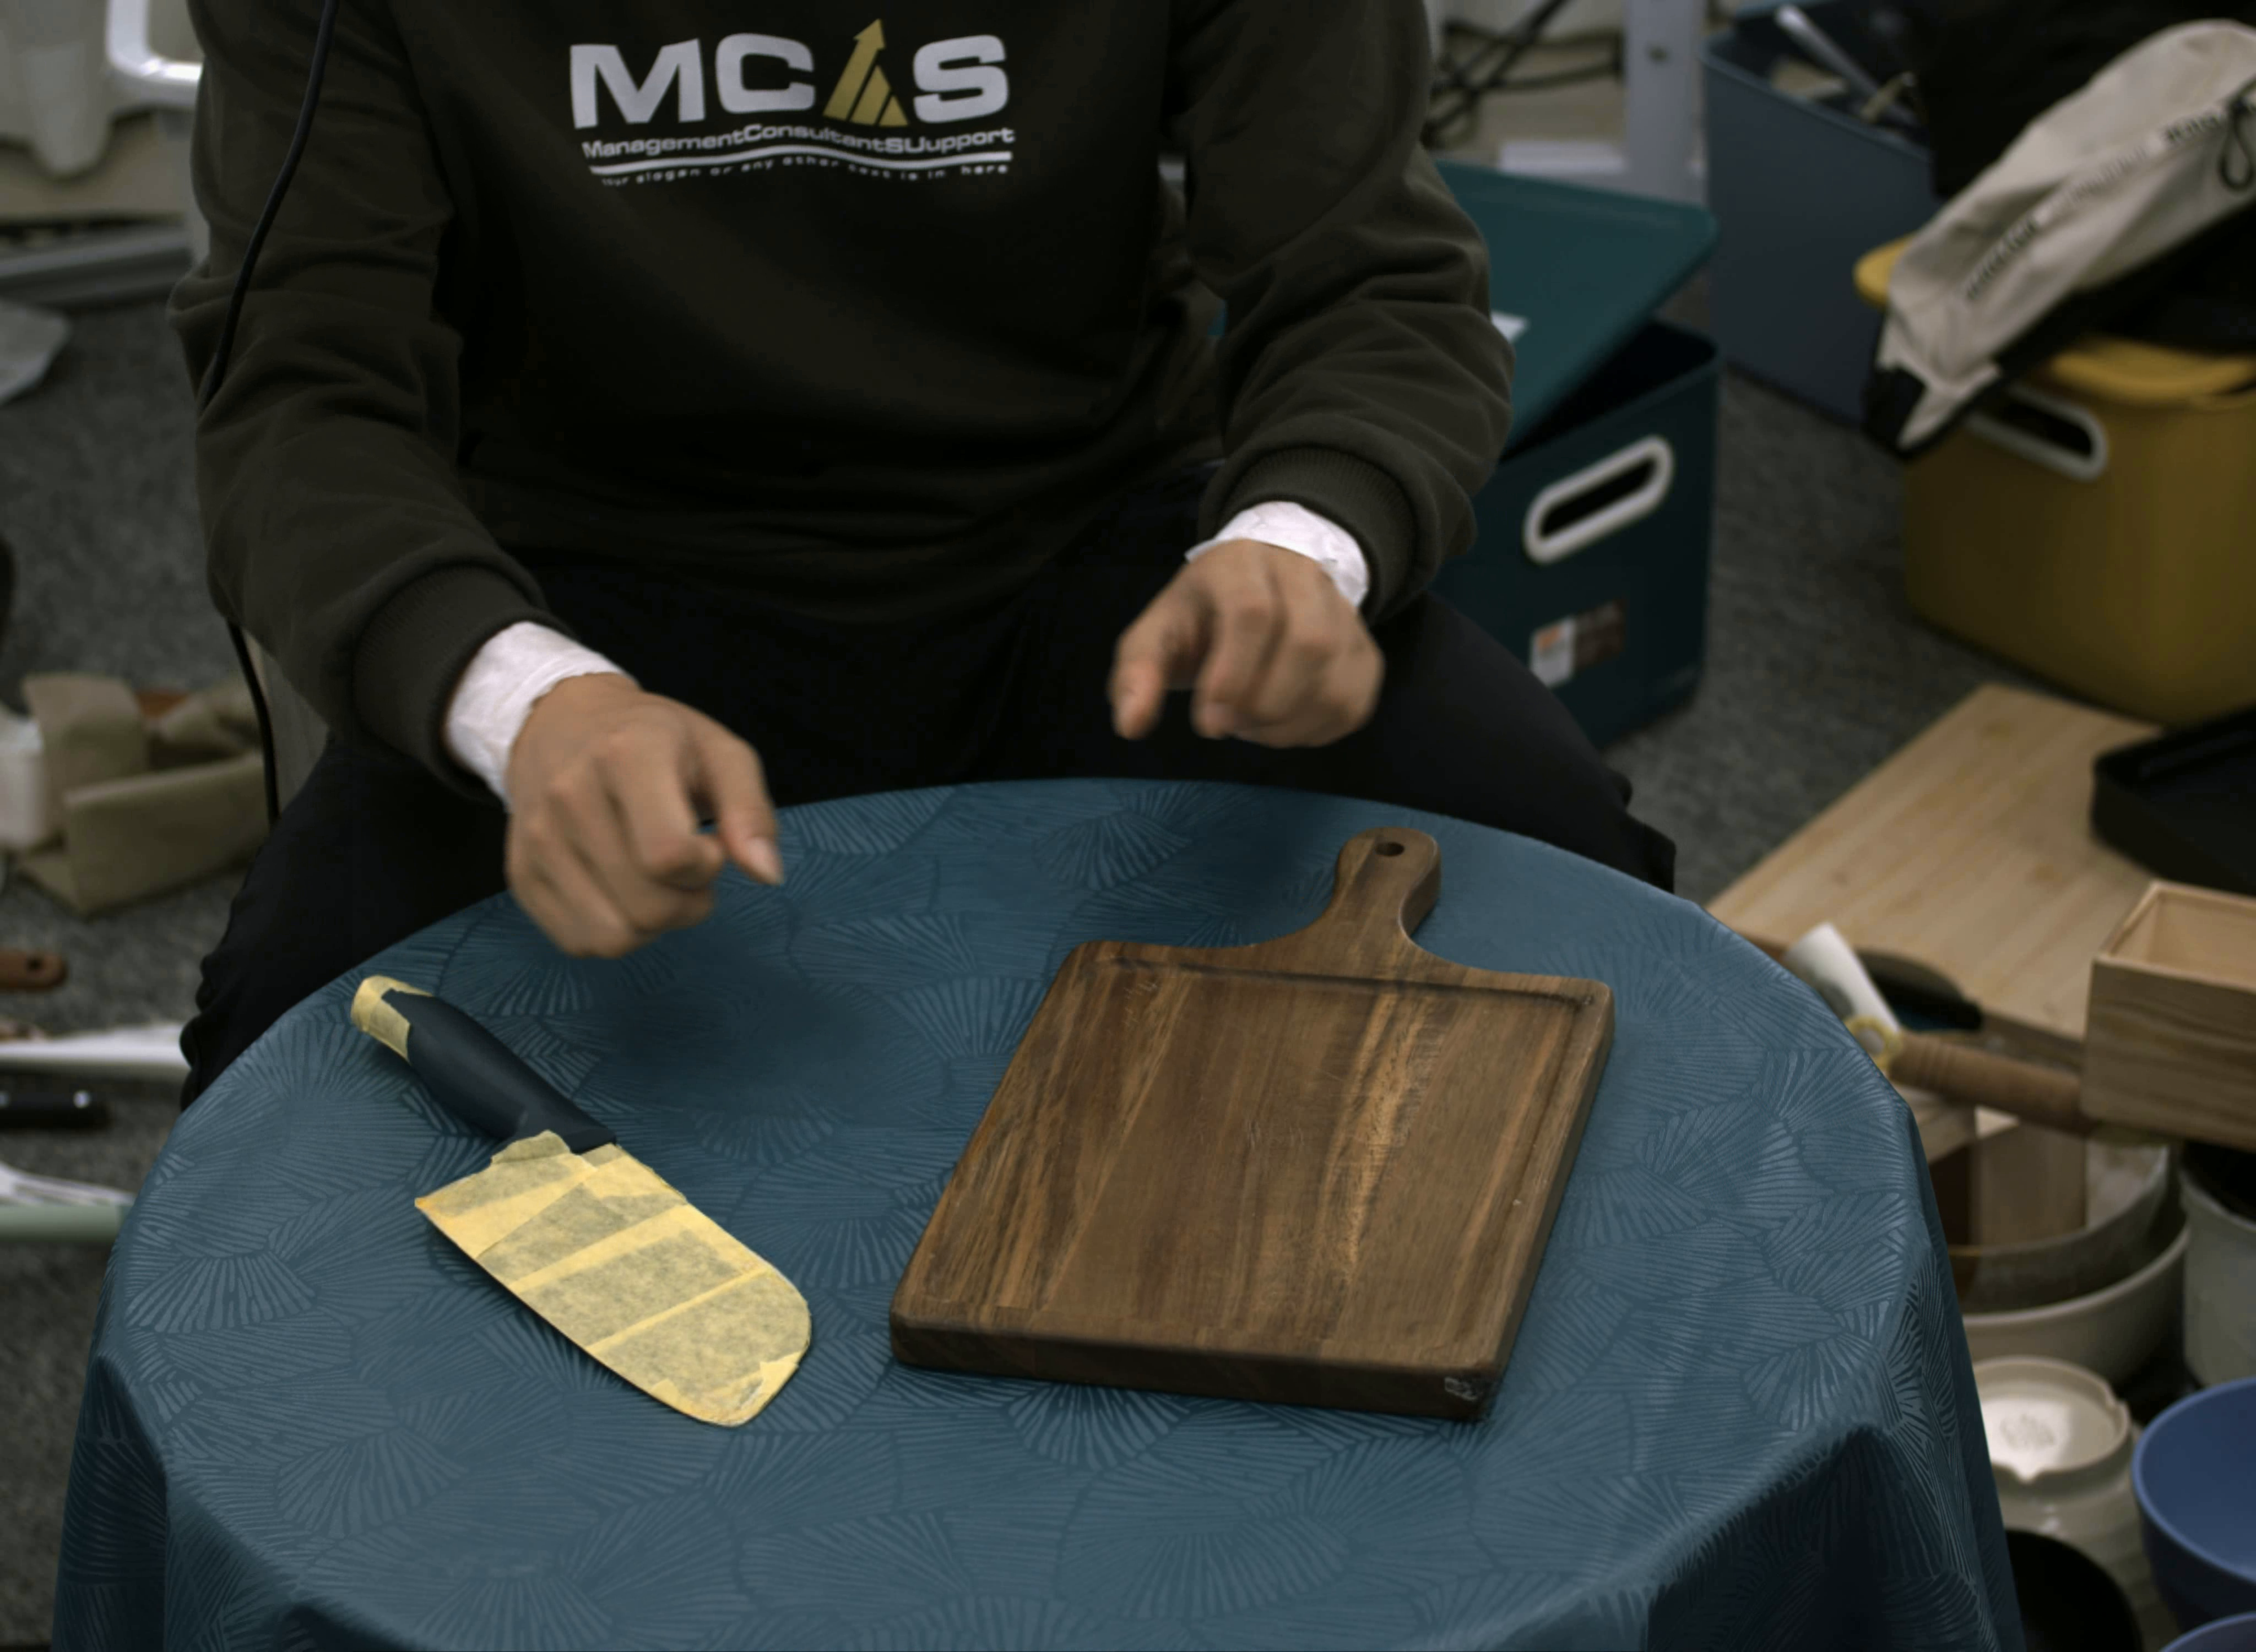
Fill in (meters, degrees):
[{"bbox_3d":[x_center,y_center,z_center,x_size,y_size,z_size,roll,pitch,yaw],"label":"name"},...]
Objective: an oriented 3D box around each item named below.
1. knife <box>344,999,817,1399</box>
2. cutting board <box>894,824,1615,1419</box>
[{"bbox_3d":[-0.193,0.124,1.858,0.081,0.027,0.290,-18,32,-30],"label":"knife"},{"bbox_3d":[0.058,0.089,1.896,0.200,0.023,0.358,4,28,12],"label":"cutting board"}]
